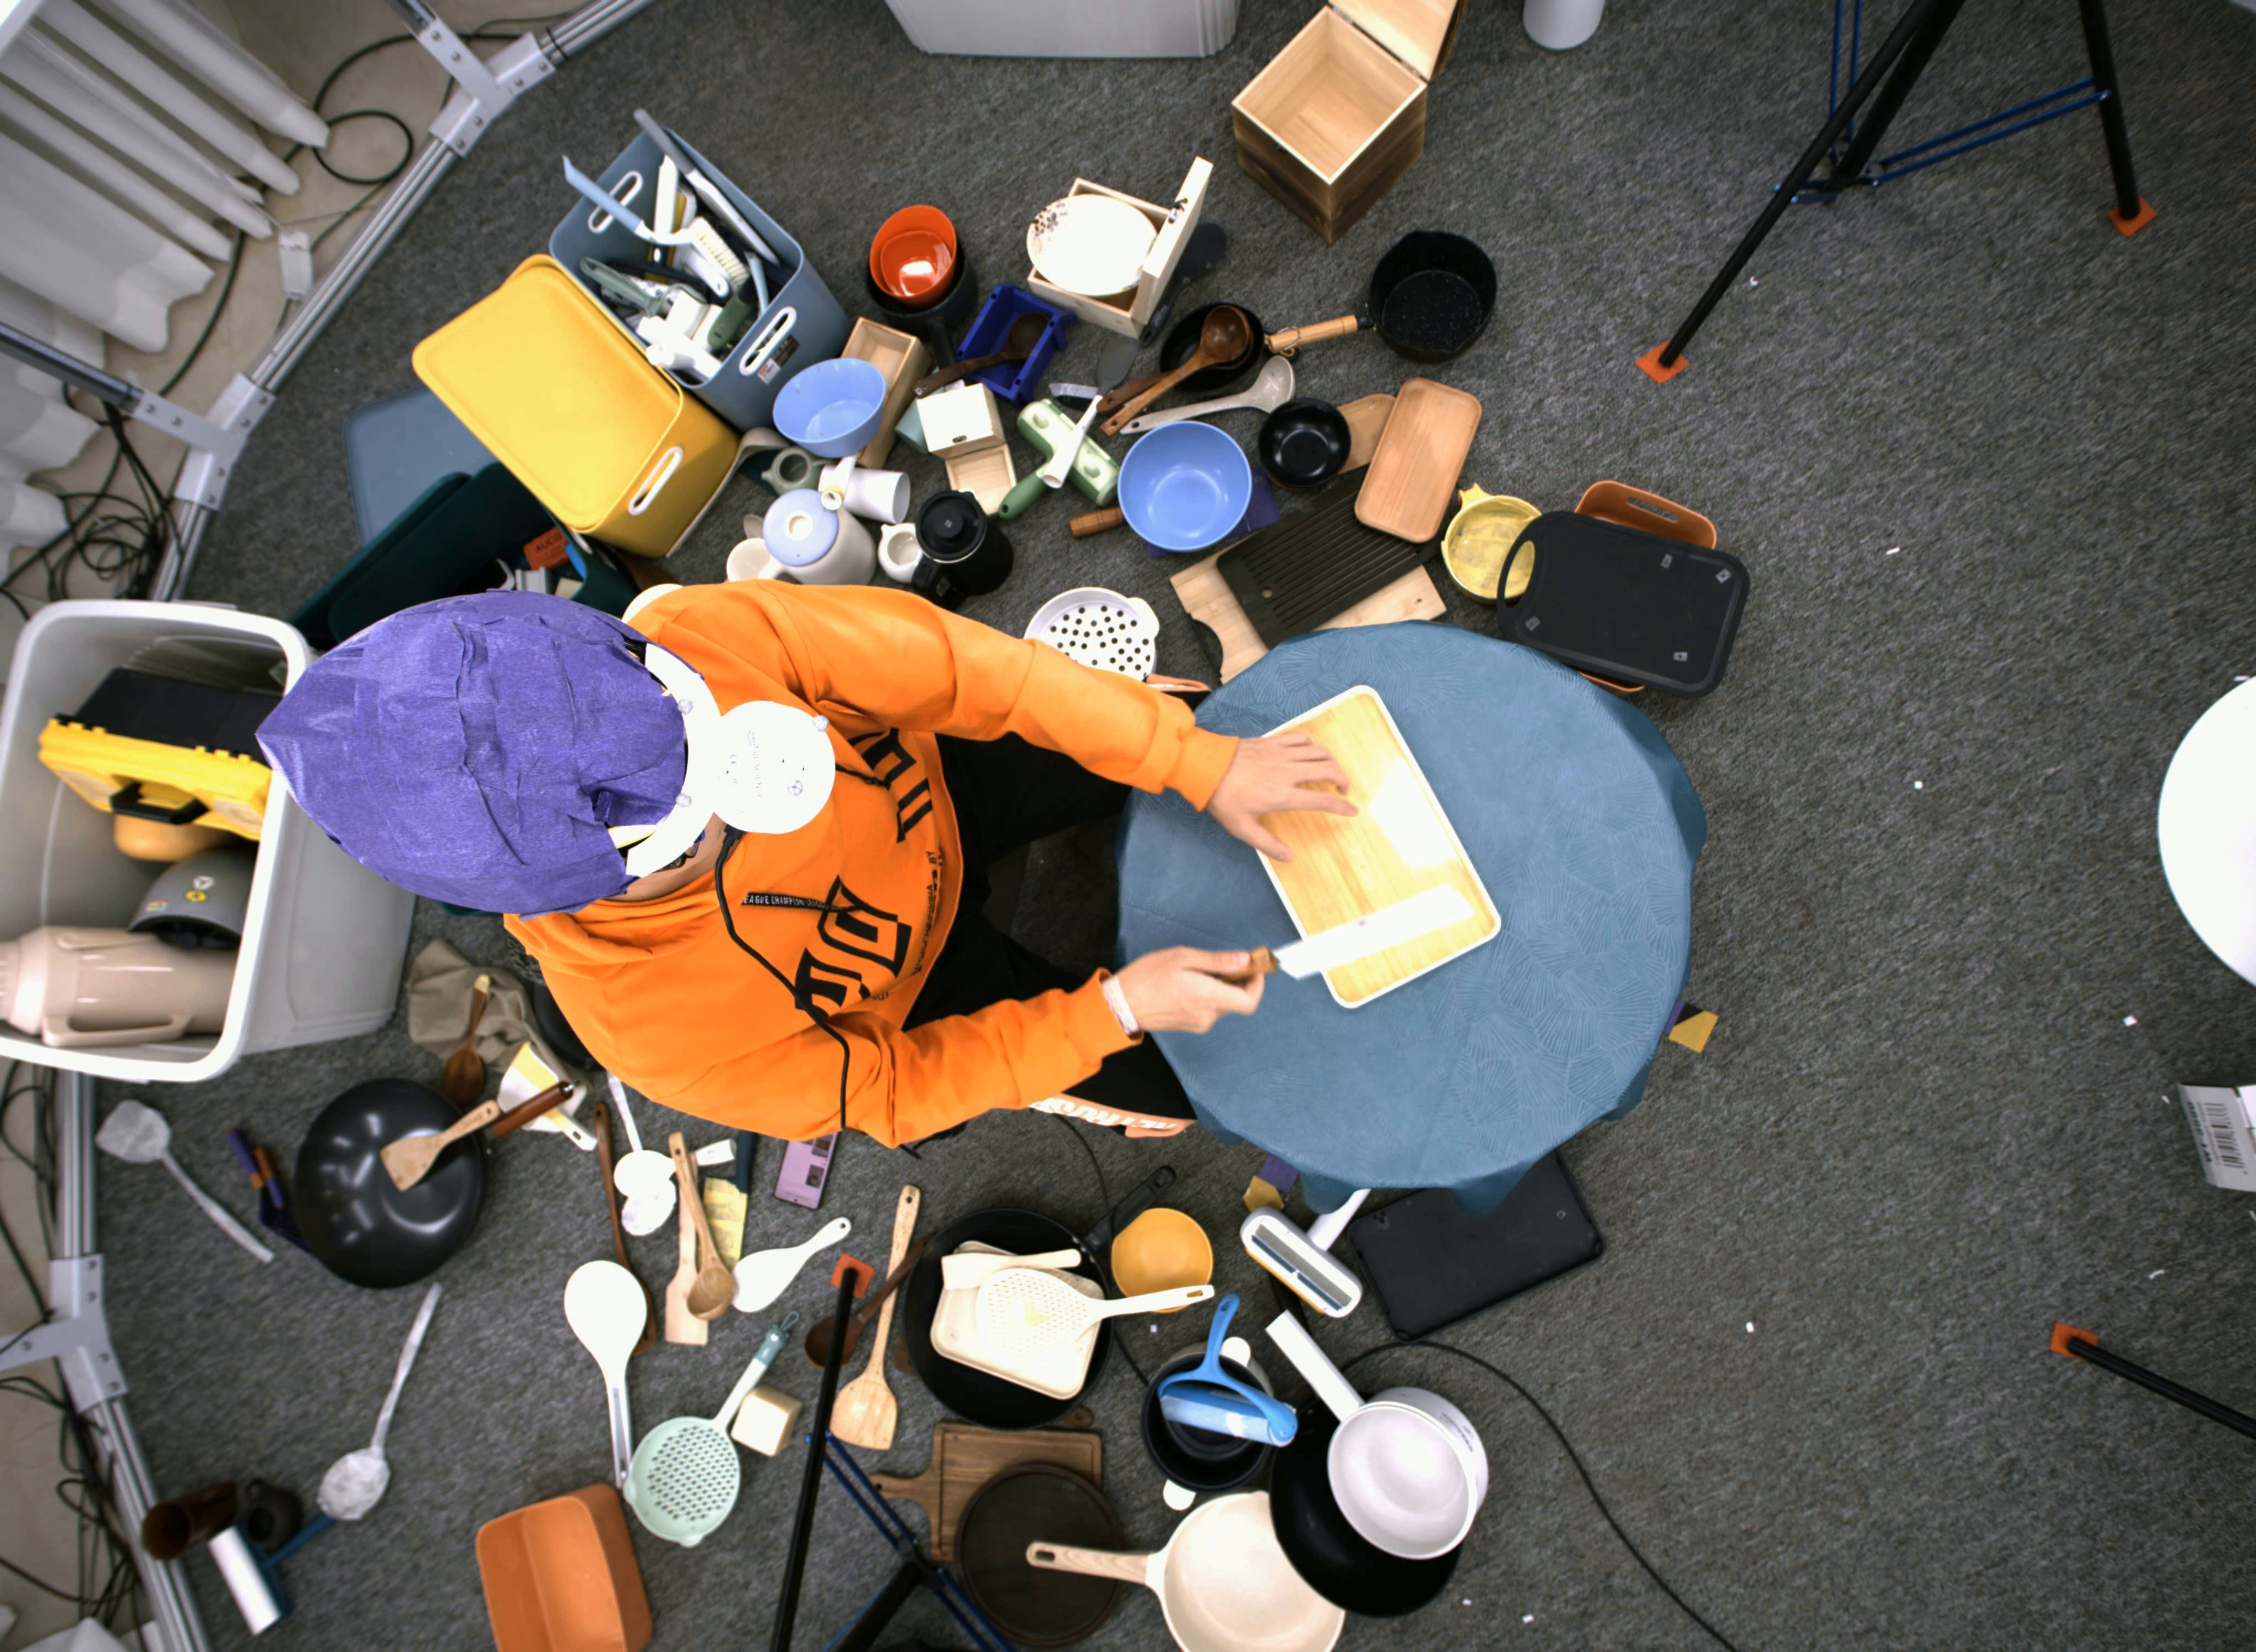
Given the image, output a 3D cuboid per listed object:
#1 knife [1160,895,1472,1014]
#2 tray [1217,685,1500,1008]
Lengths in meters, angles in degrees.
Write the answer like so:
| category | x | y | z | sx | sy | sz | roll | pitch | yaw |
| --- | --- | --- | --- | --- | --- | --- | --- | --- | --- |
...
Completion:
| category | x | y | z | sx | sy | sz | roll | pitch | yaw |
| --- | --- | --- | --- | --- | --- | --- | --- | --- | --- |
| knife | 0.179 | 0.127 | 1.322 | 0.310 | 0.093 | 0.020 | -23 | 62 | 24 |
| tray | 0.241 | 0.020 | 1.454 | 0.192 | 0.027 | 0.298 | -28 | 83 | 8 |
